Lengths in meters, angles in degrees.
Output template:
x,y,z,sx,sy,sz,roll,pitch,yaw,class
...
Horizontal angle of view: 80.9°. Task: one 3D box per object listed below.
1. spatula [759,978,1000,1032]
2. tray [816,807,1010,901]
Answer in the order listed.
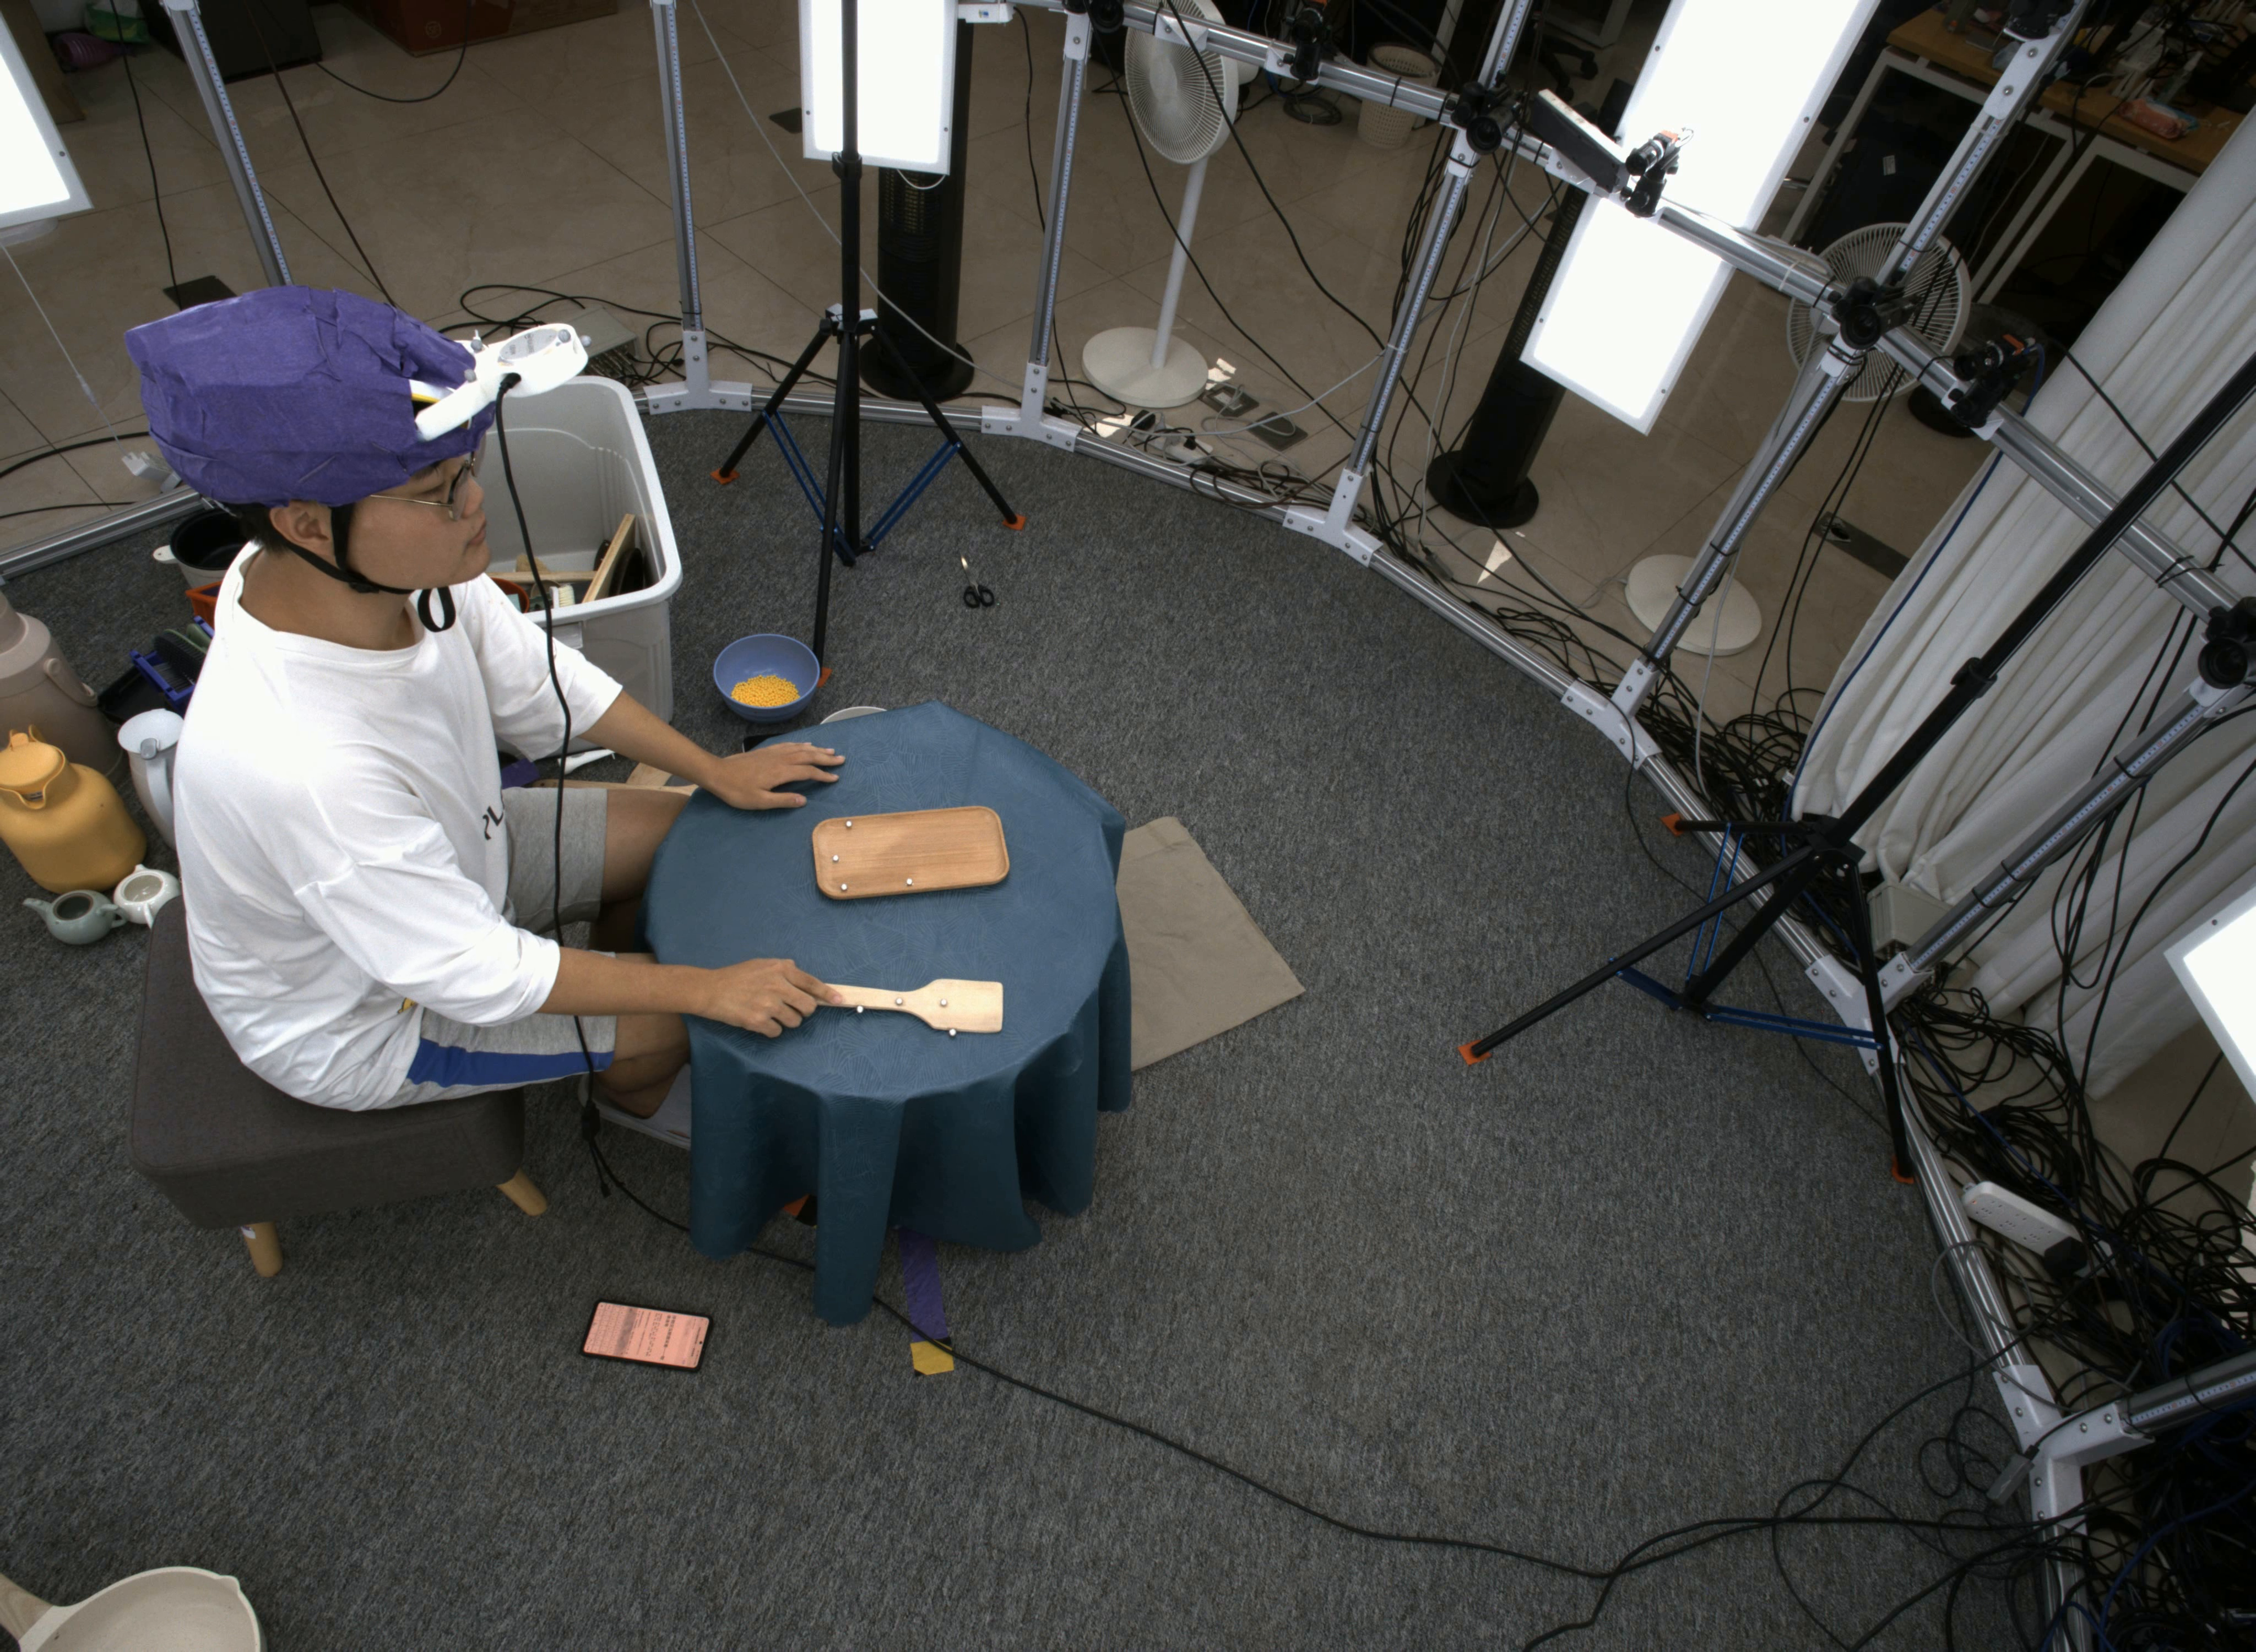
x,y,z,sx,sy,sz,roll,pitch,yaw,class
-0.302,0.210,1.591,0.294,0.011,0.071,6,55,-15,spatula
-0.286,0.036,1.731,0.251,0.023,0.128,-4,58,-16,tray
